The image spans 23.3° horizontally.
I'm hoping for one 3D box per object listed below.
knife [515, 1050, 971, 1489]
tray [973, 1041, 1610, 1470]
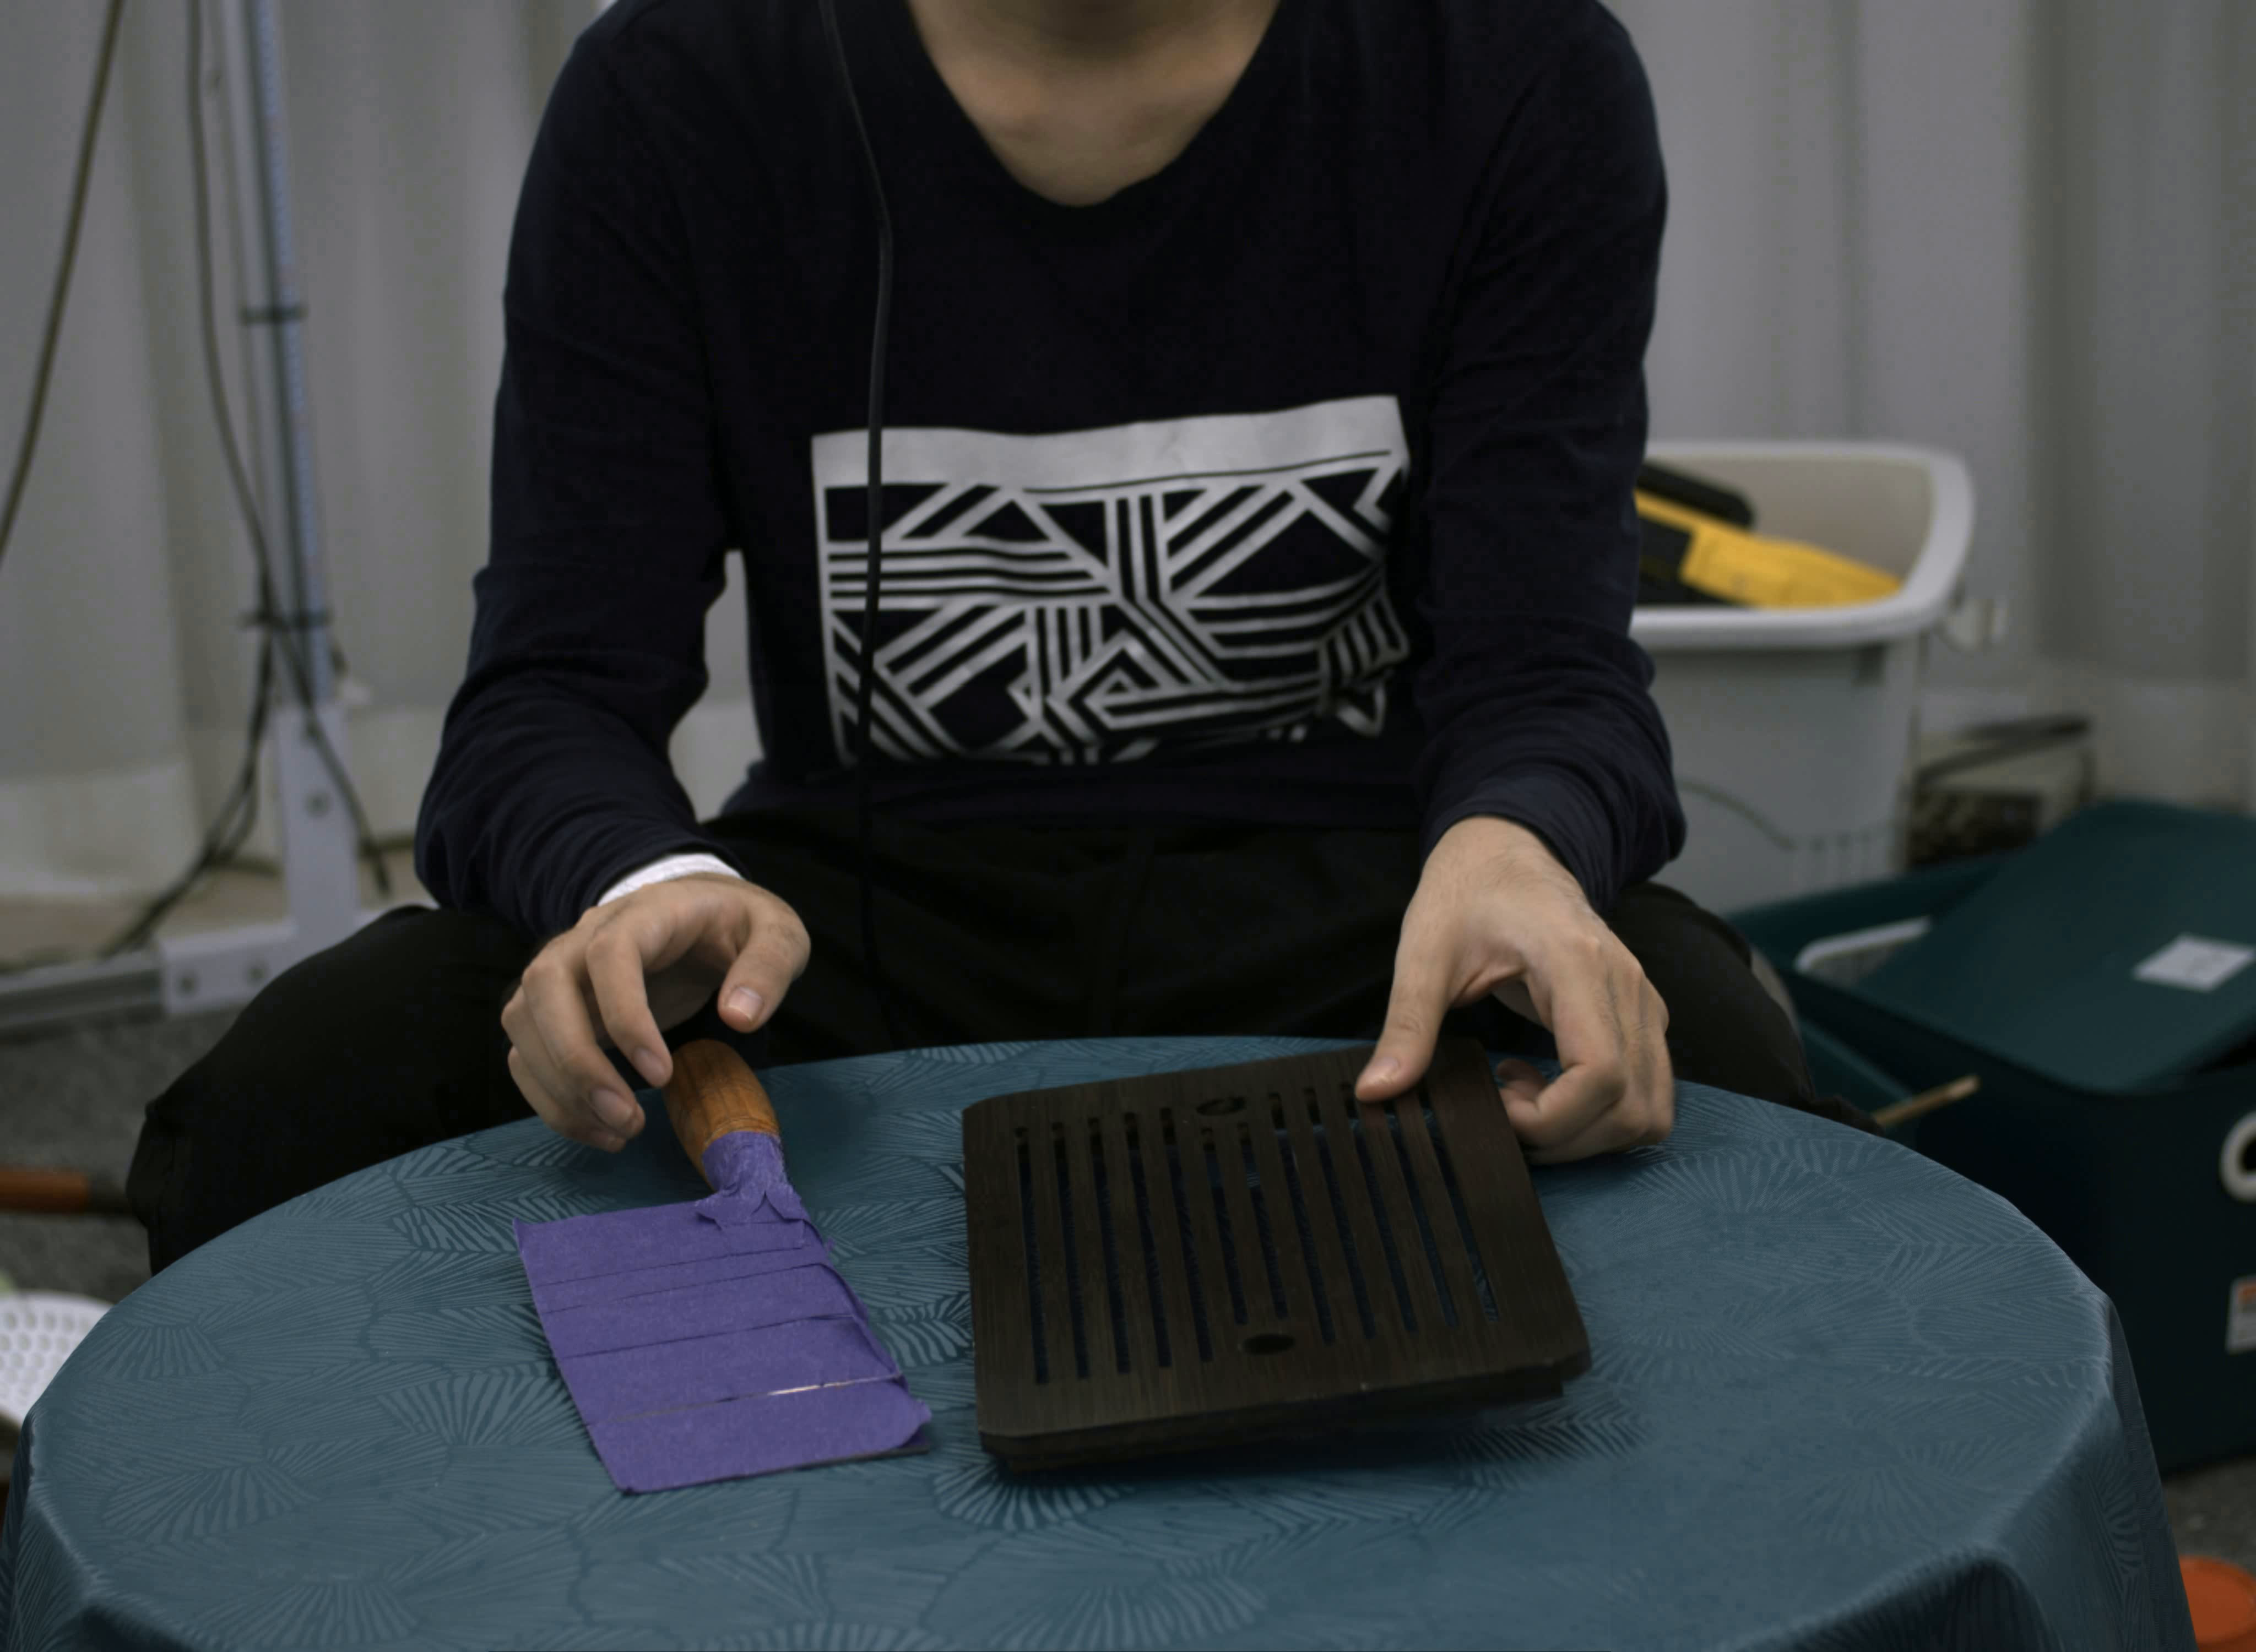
[{"bbox_3d":[-0.132,0.129,1.638,0.103,0.032,0.318,-6,16,-14],"label":"knife"},{"bbox_3d":[0.041,0.124,1.619,0.169,0.018,0.308,-7,14,-1],"label":"tray"}]
